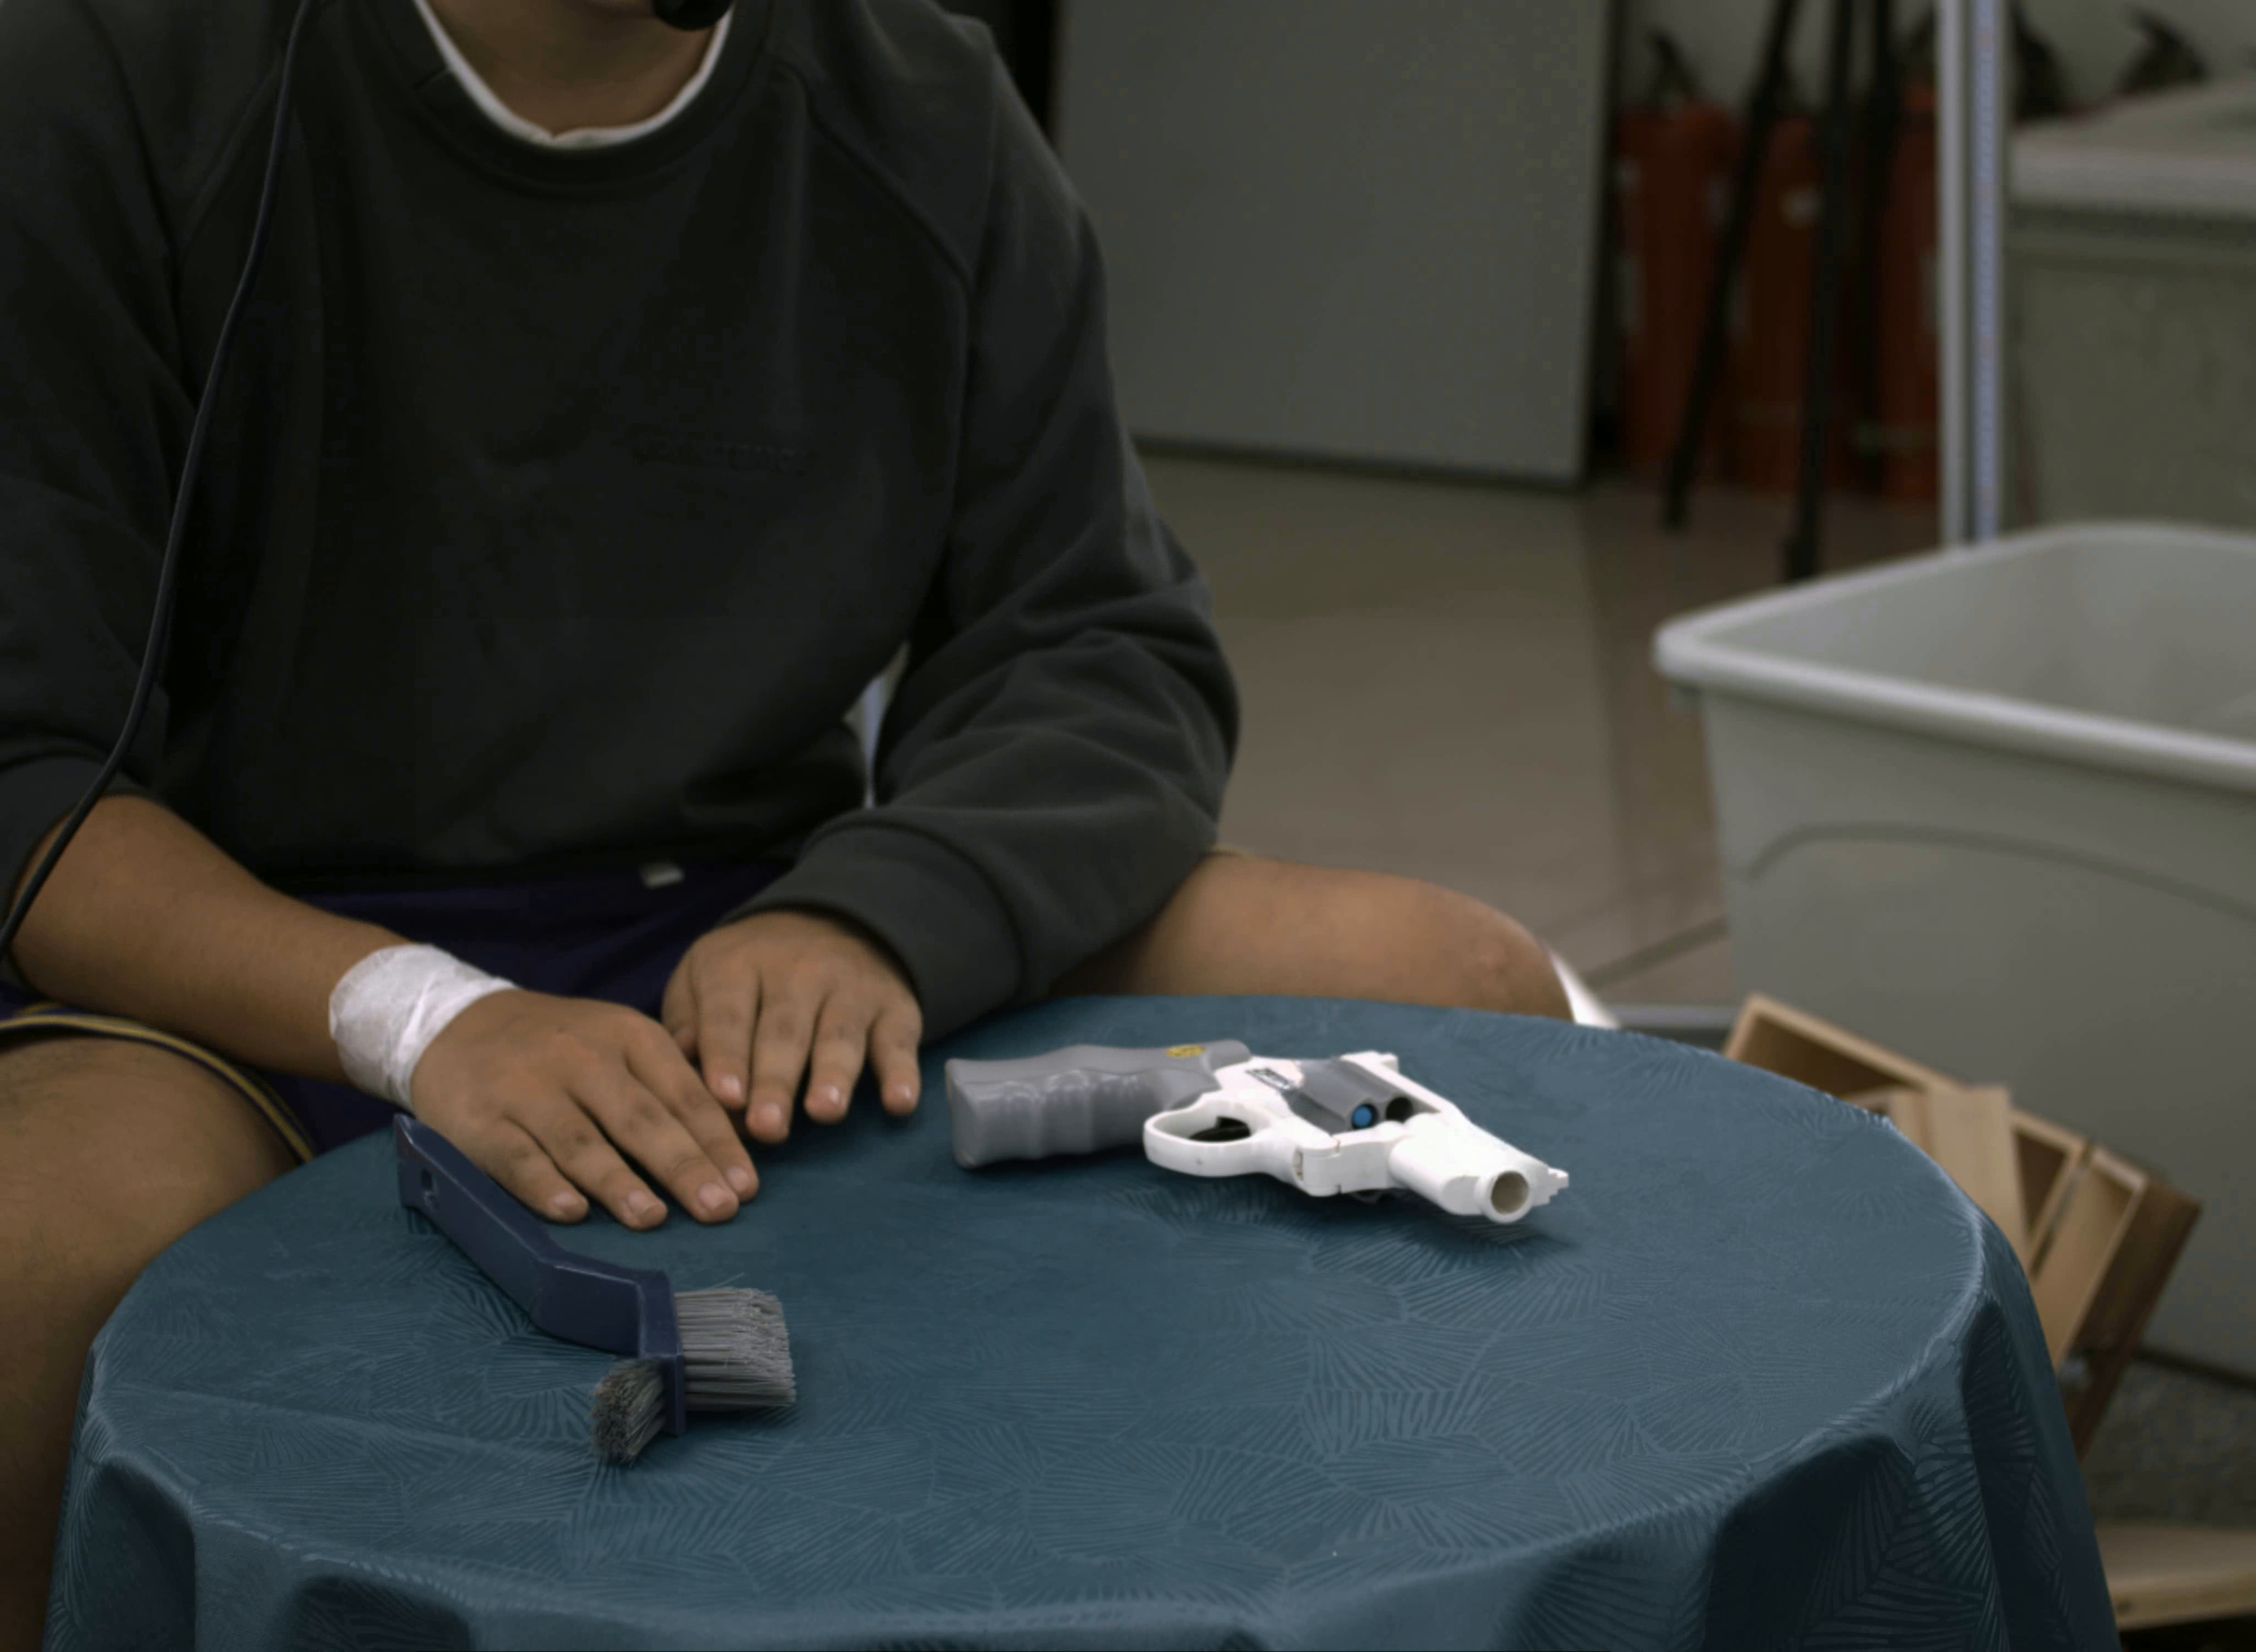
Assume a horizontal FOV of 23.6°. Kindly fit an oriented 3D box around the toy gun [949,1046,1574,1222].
[{"bbox_3d":[0.037,0.103,1.754,0.138,0.039,0.211,-11,14,-23],"label":"toy gun"}]

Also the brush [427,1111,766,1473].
[{"bbox_3d":[-0.187,0.140,1.677,0.093,0.034,0.276,-11,16,-28],"label":"brush"}]
